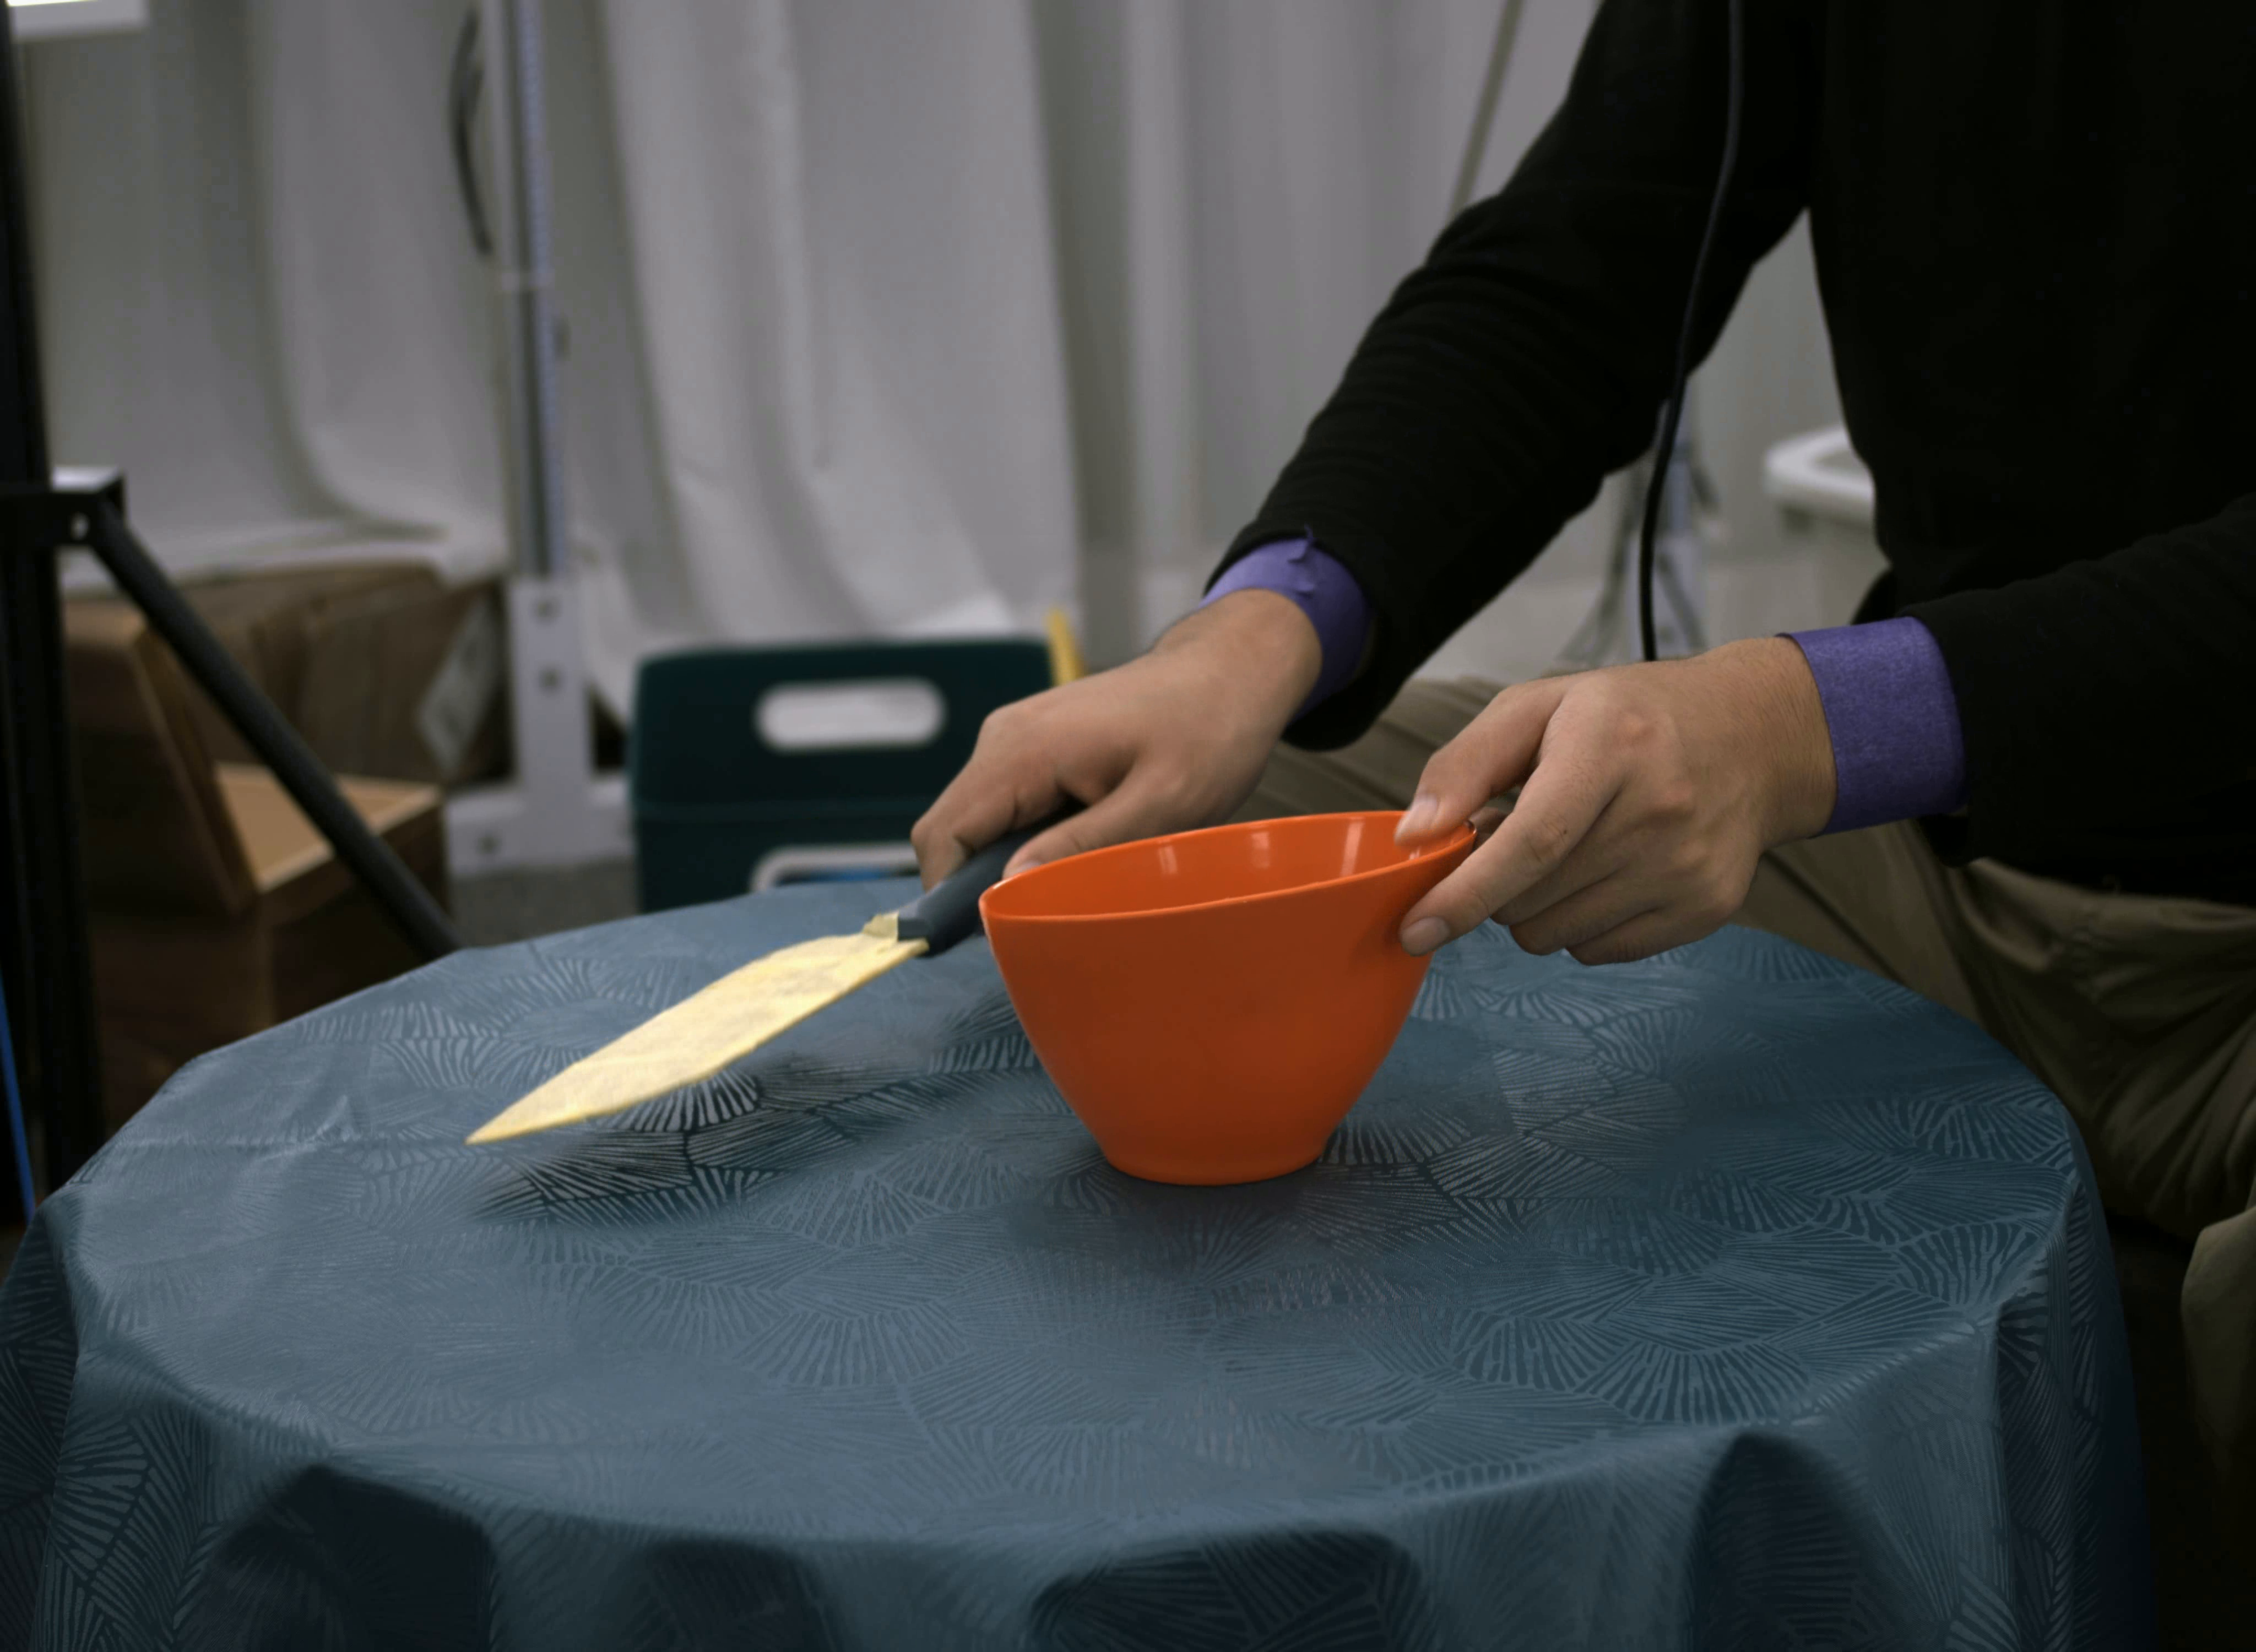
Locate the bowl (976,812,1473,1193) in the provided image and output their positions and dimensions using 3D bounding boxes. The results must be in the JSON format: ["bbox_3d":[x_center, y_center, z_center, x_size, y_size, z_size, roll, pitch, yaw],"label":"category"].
[{"bbox_3d":[0.030,0.051,1.565,0.147,0.104,0.149,-4,15,0],"label":"bowl"}]

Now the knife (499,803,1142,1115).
[{"bbox_3d":[-0.093,0.043,1.665,0.082,0.027,0.284,-4,14,41],"label":"knife"}]
